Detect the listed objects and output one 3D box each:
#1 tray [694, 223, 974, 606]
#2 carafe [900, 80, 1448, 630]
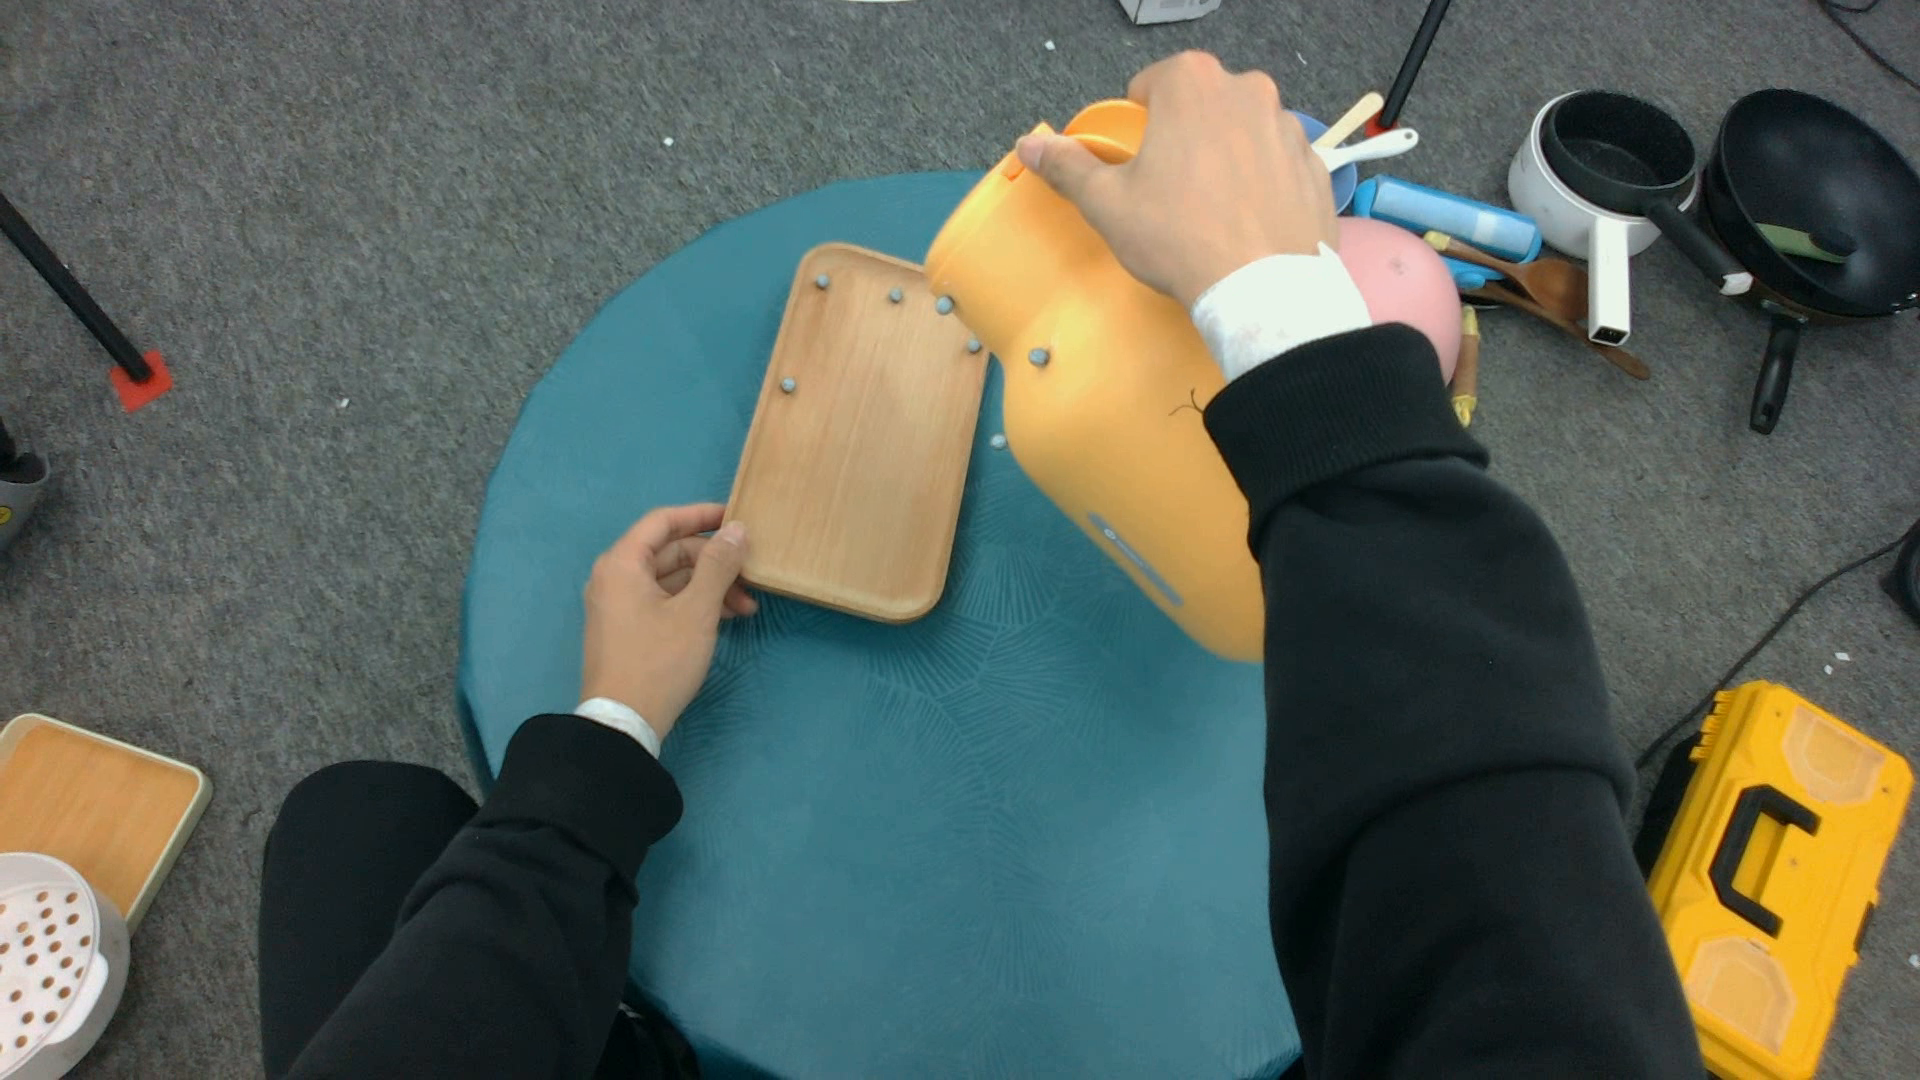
[{"bbox_3d":[-0.067,-0.079,0.806,0.130,0.023,0.252,15,59,-6],"label":"tray"},{"bbox_3d":[0.097,-0.092,0.640,0.260,0.201,0.164,40,69,-4],"label":"carafe"}]
